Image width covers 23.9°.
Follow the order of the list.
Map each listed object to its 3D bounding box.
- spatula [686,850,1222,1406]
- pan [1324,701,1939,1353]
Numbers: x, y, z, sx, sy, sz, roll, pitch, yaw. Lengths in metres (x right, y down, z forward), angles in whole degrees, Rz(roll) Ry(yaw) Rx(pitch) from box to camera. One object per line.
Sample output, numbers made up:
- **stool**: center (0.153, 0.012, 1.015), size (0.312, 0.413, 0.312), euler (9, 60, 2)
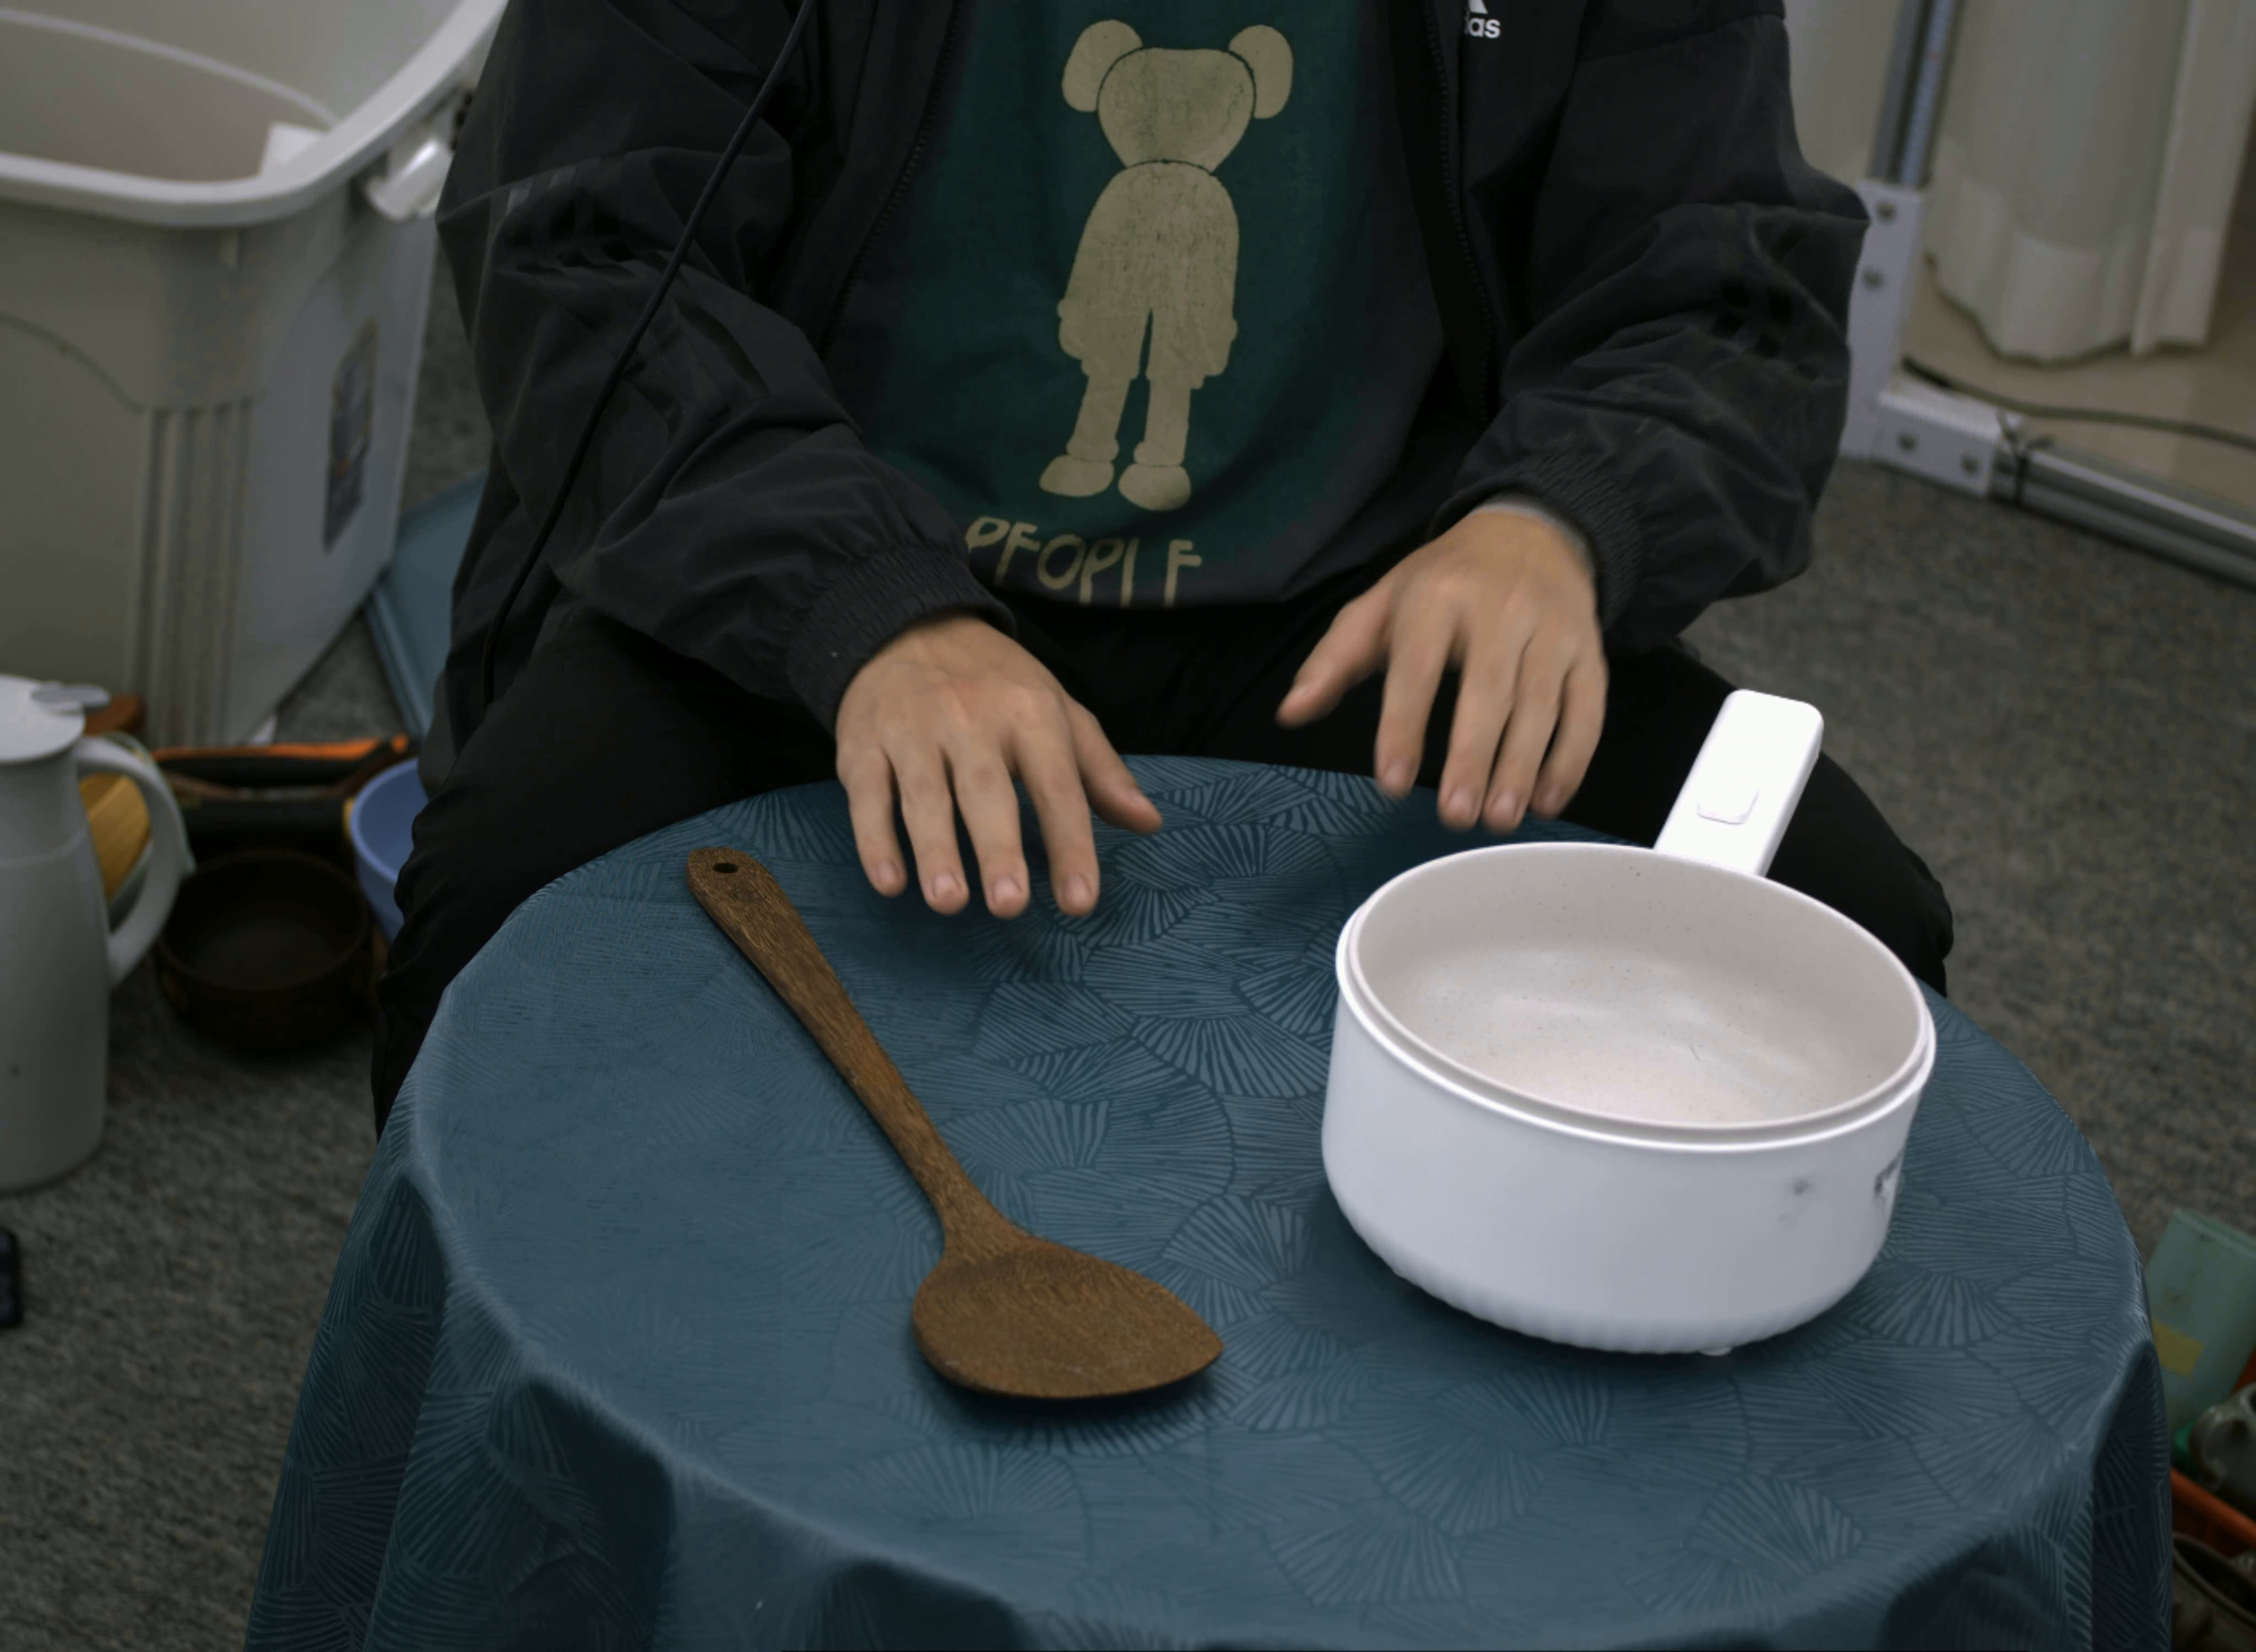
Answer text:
- **spatula**: center (-0.081, 0.095, 1.828), size (0.095, 0.016, 0.389), euler (-5, 29, -23)
- **pan**: center (0.188, 0.065, 1.856), size (0.201, 0.102, 0.355), euler (13, 26, 13)
